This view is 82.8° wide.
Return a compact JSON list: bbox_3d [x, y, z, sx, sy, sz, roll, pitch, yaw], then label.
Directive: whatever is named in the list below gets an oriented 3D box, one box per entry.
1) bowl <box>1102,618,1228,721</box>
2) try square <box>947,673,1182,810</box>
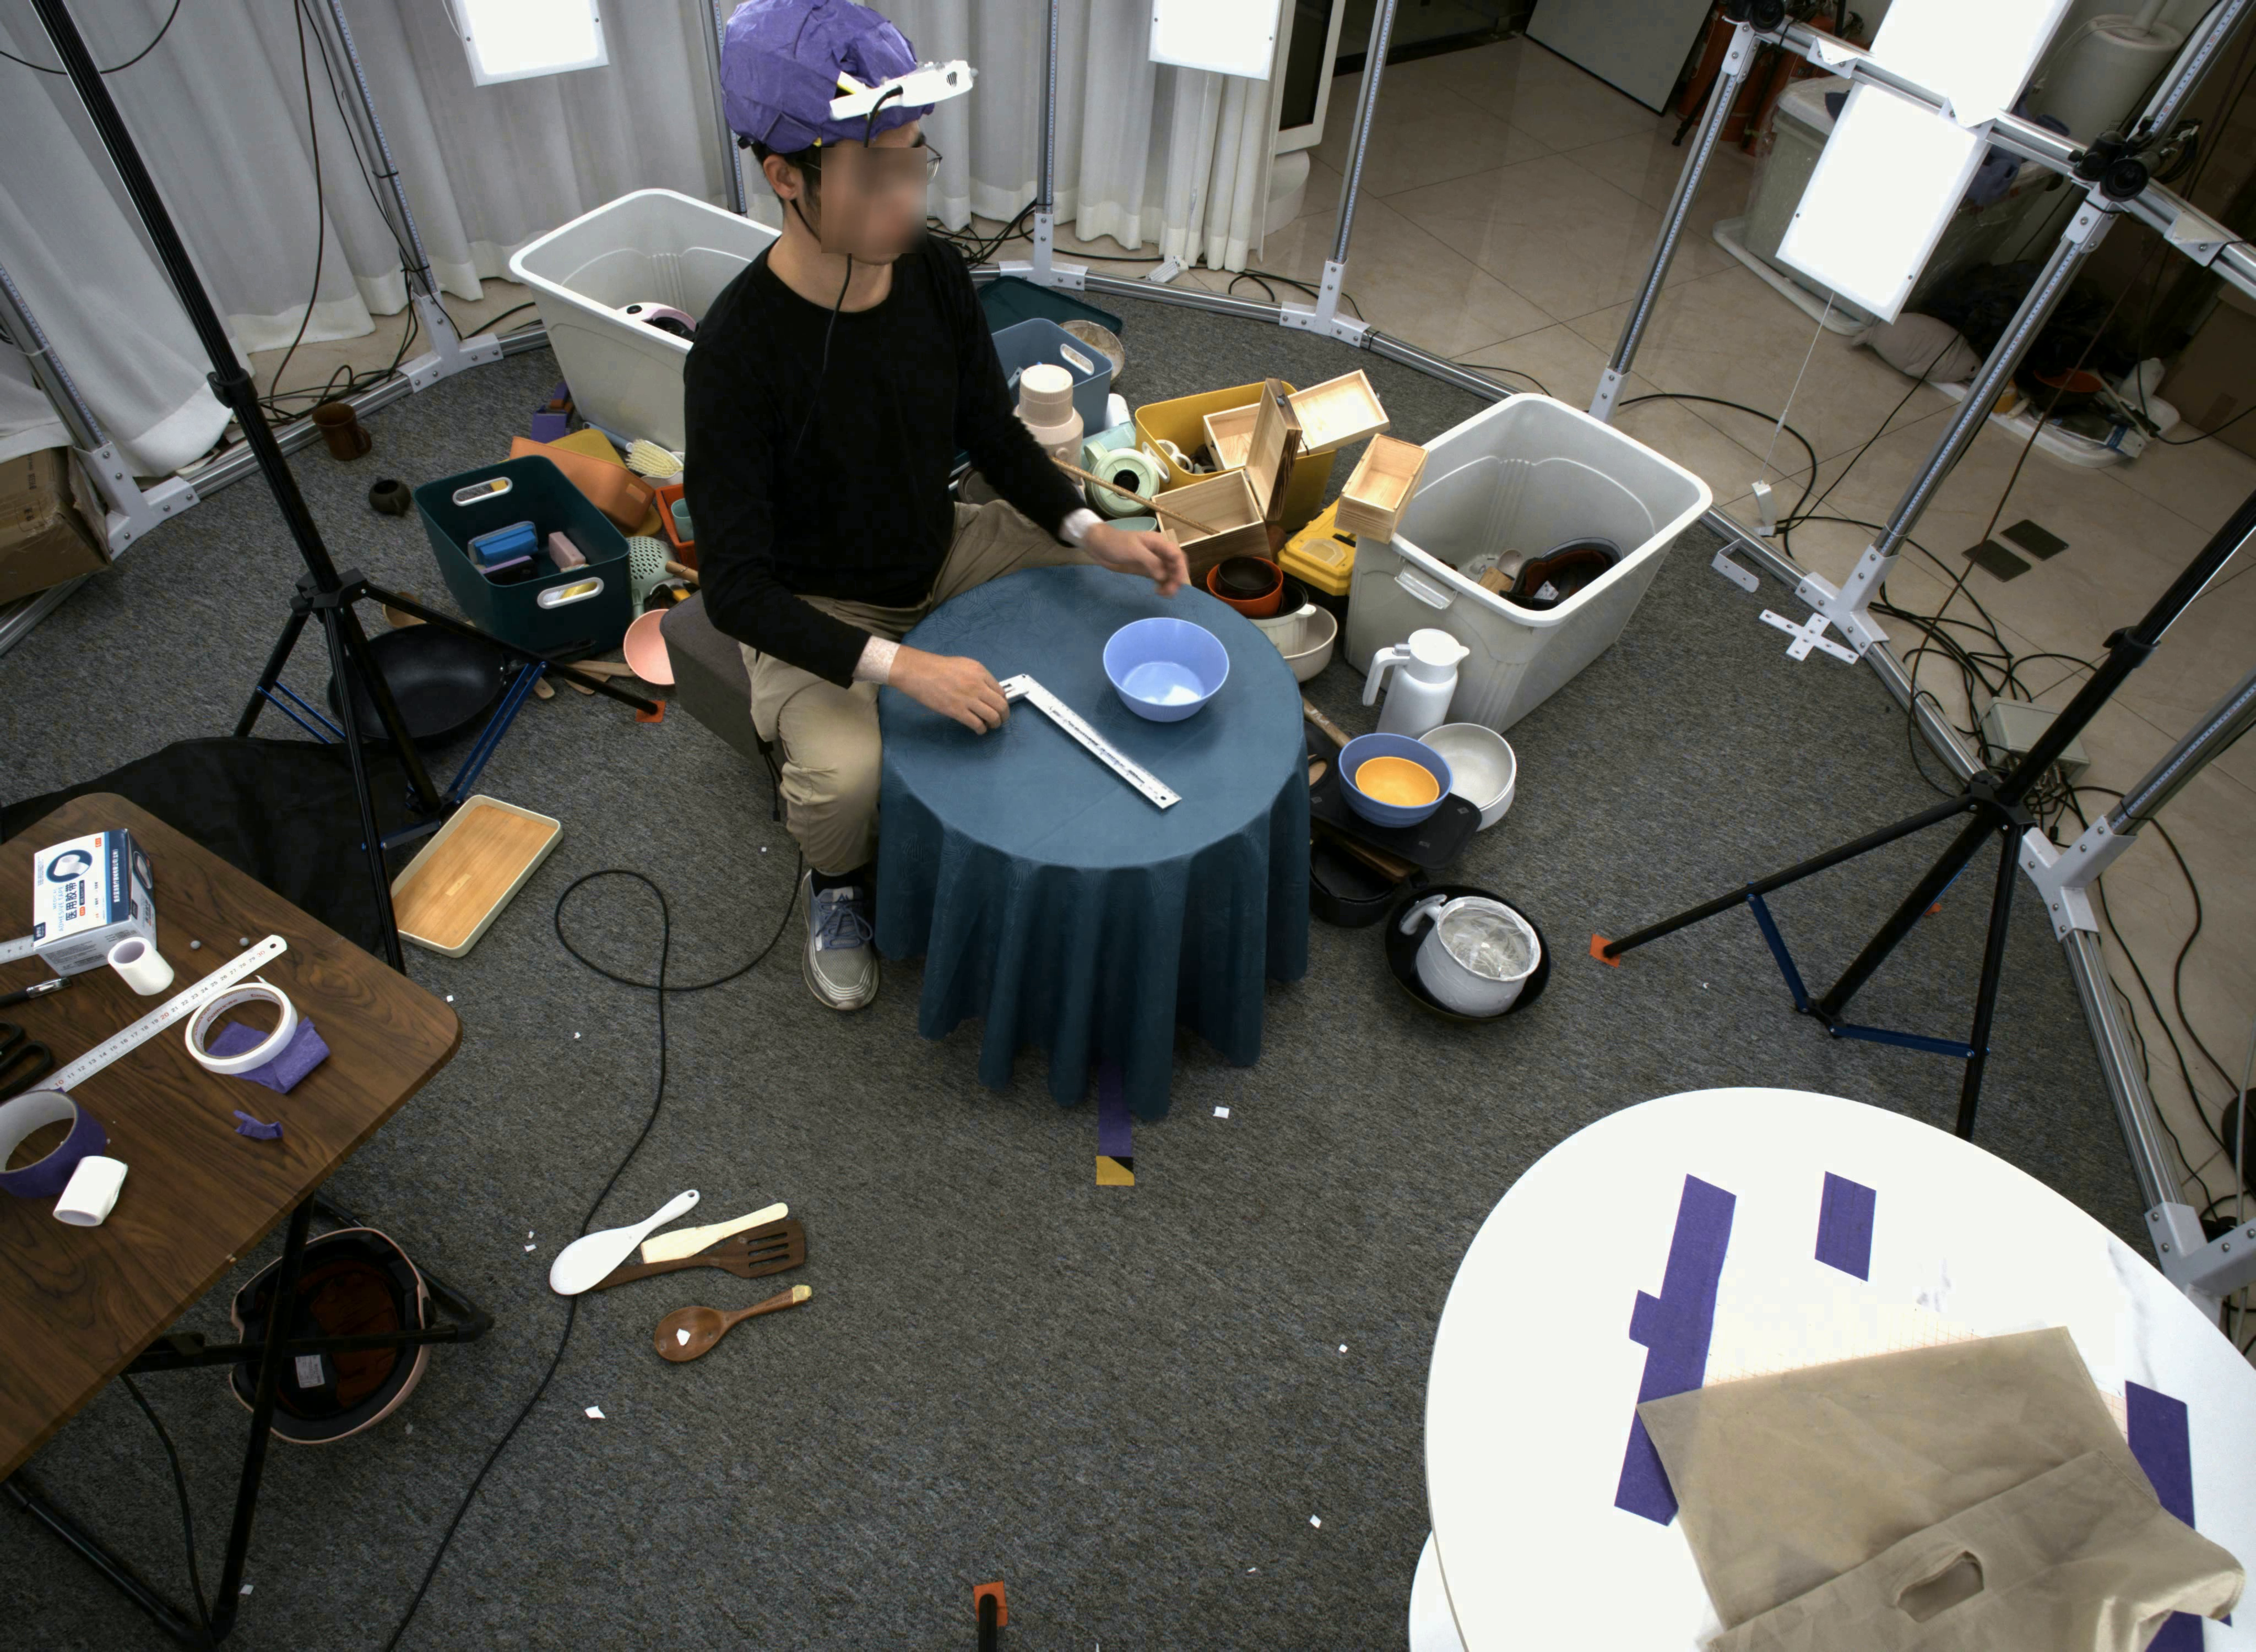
[{"bbox_3d":[0.050,-0.212,1.812,0.176,0.068,0.180,2,50,-2],"label":"bowl"},{"bbox_3d":[-0.088,-0.099,1.731,0.153,0.015,0.318,-29,57,-37],"label":"try square"}]
